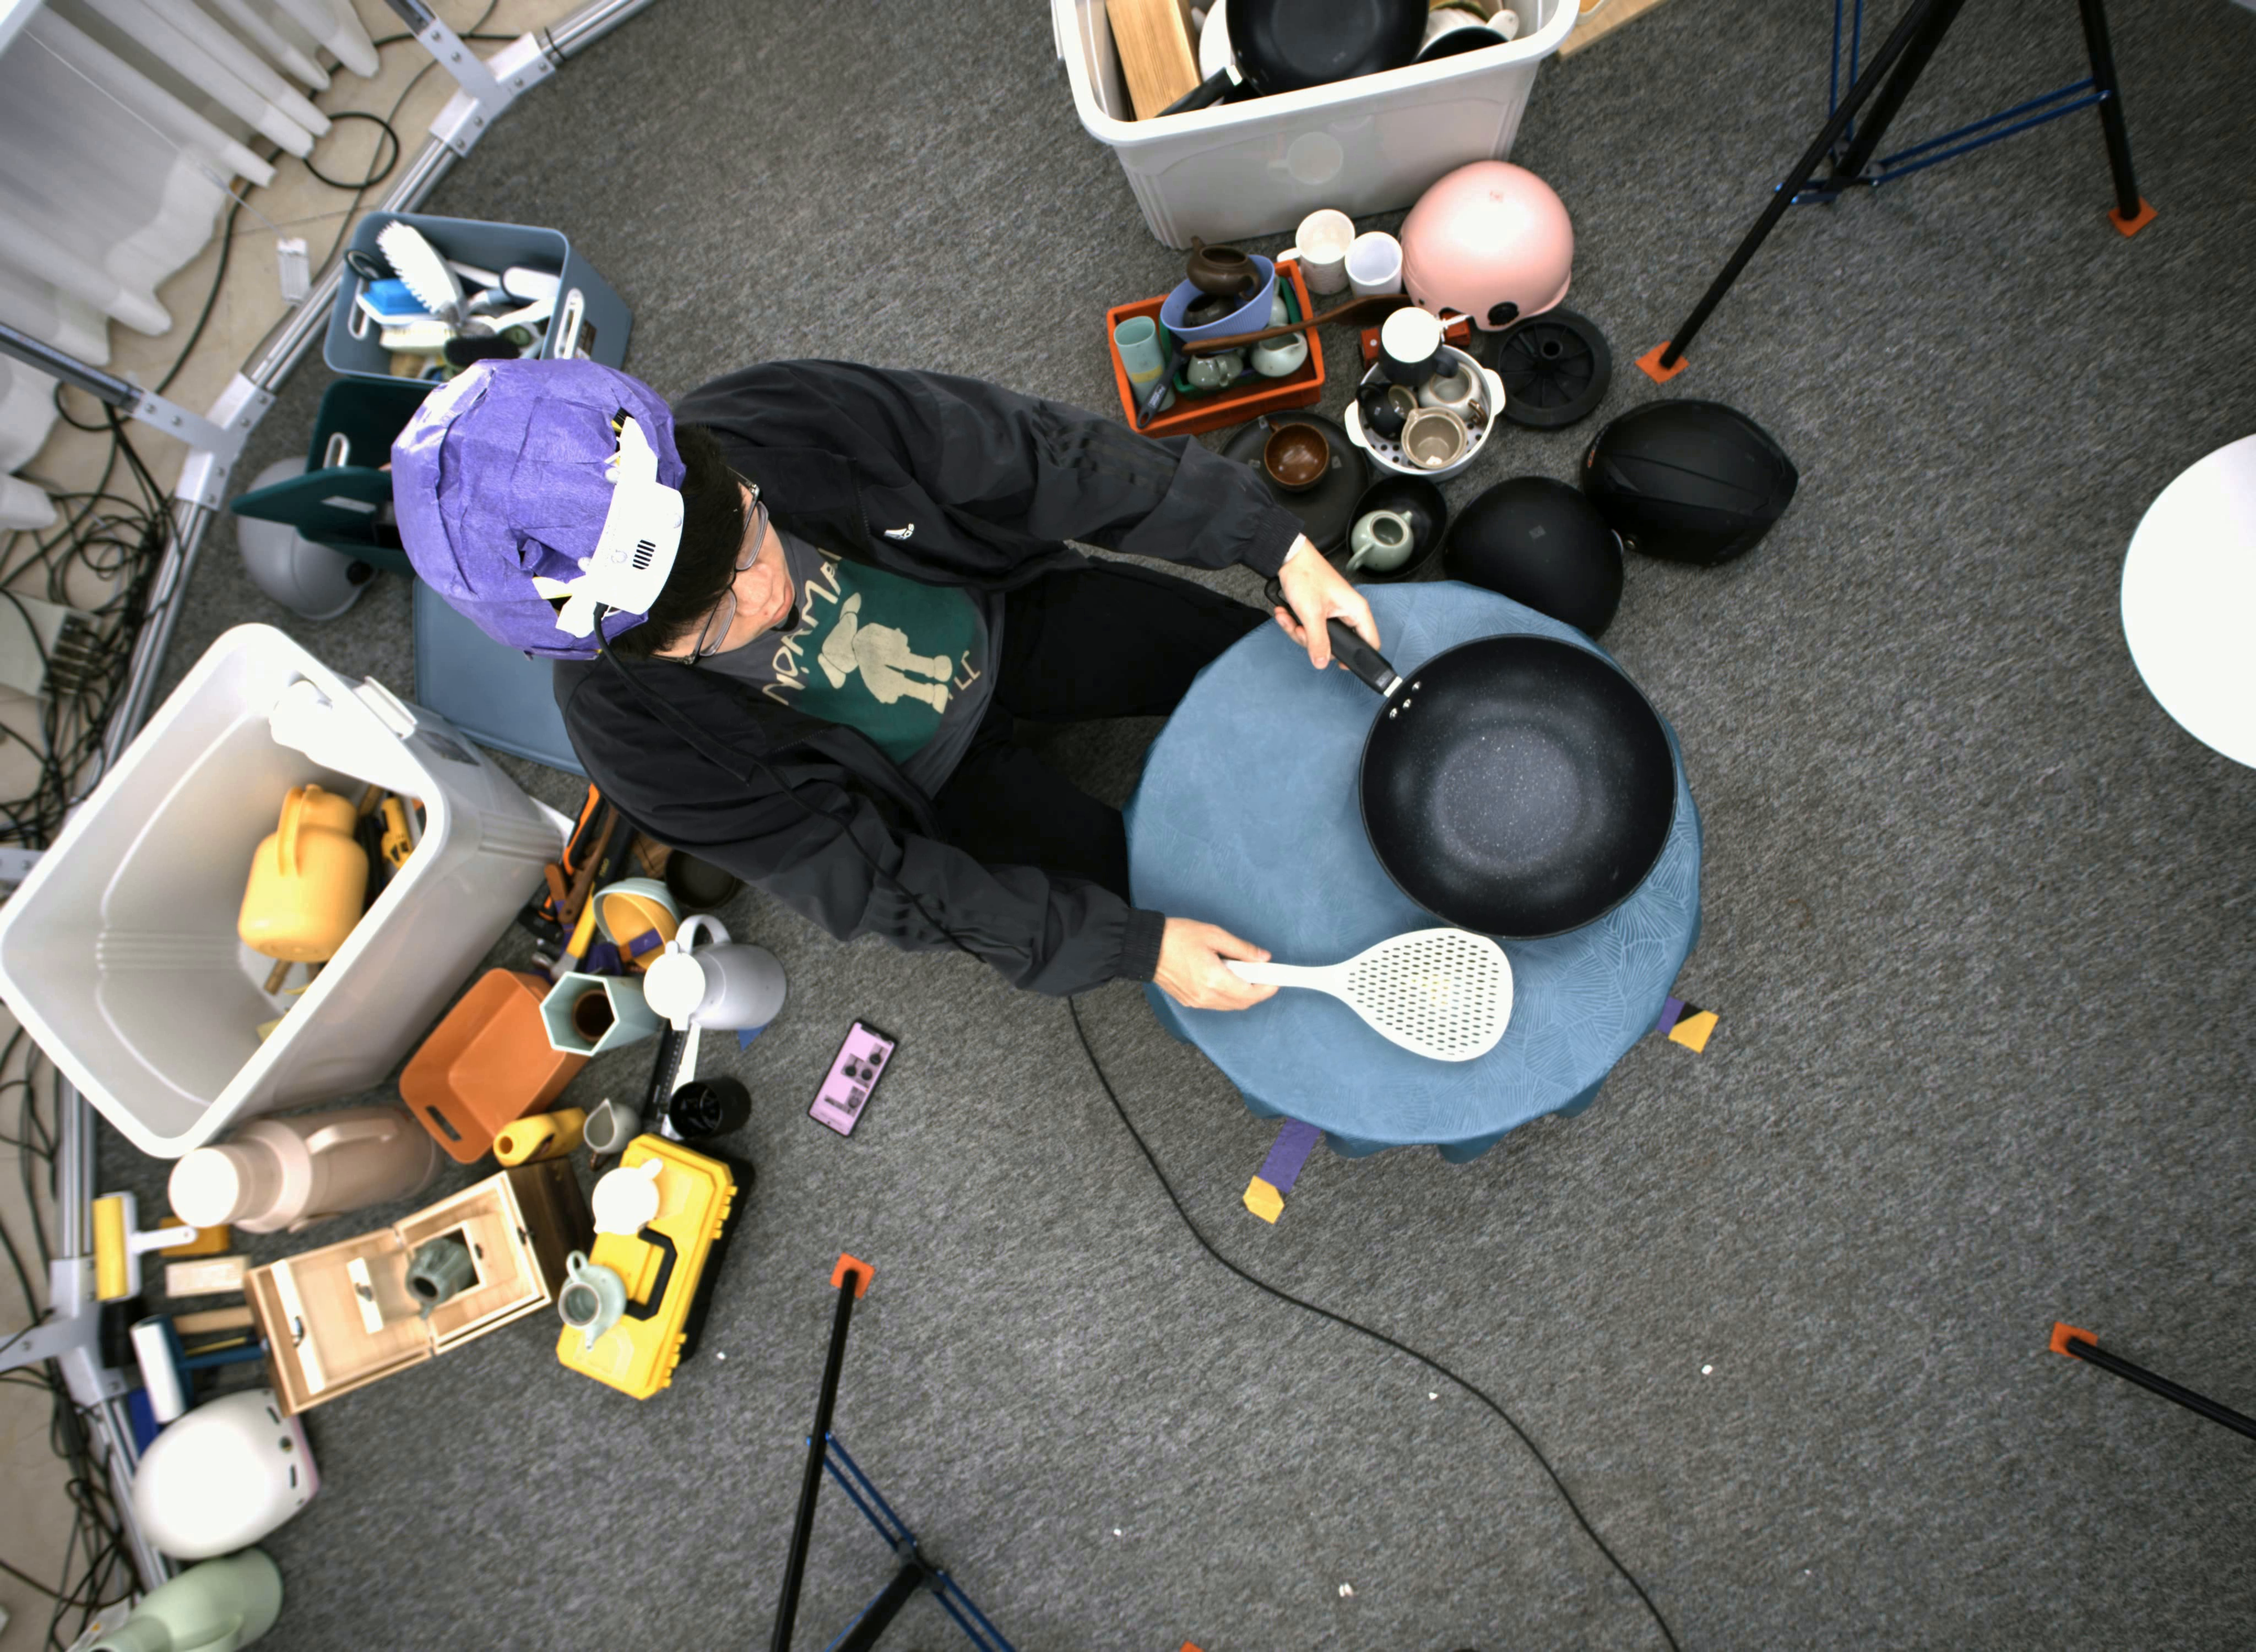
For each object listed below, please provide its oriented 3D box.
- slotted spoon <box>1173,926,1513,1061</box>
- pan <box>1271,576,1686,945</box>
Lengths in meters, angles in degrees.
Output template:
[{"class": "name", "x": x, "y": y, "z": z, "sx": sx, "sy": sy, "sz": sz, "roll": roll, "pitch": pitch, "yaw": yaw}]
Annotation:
[{"class": "slotted spoon", "x": 0.219, "y": 0.159, "z": 1.432, "sx": 0.349, "sy": 0.050, "sz": 0.137, "roll": 5, "pitch": 92, "yaw": 6}, {"class": "pan", "x": 0.335, "y": -0.090, "z": 1.401, "sx": 0.475, "sy": 0.112, "sz": 0.311, "roll": 41, "pitch": 94, "yaw": 11}]
